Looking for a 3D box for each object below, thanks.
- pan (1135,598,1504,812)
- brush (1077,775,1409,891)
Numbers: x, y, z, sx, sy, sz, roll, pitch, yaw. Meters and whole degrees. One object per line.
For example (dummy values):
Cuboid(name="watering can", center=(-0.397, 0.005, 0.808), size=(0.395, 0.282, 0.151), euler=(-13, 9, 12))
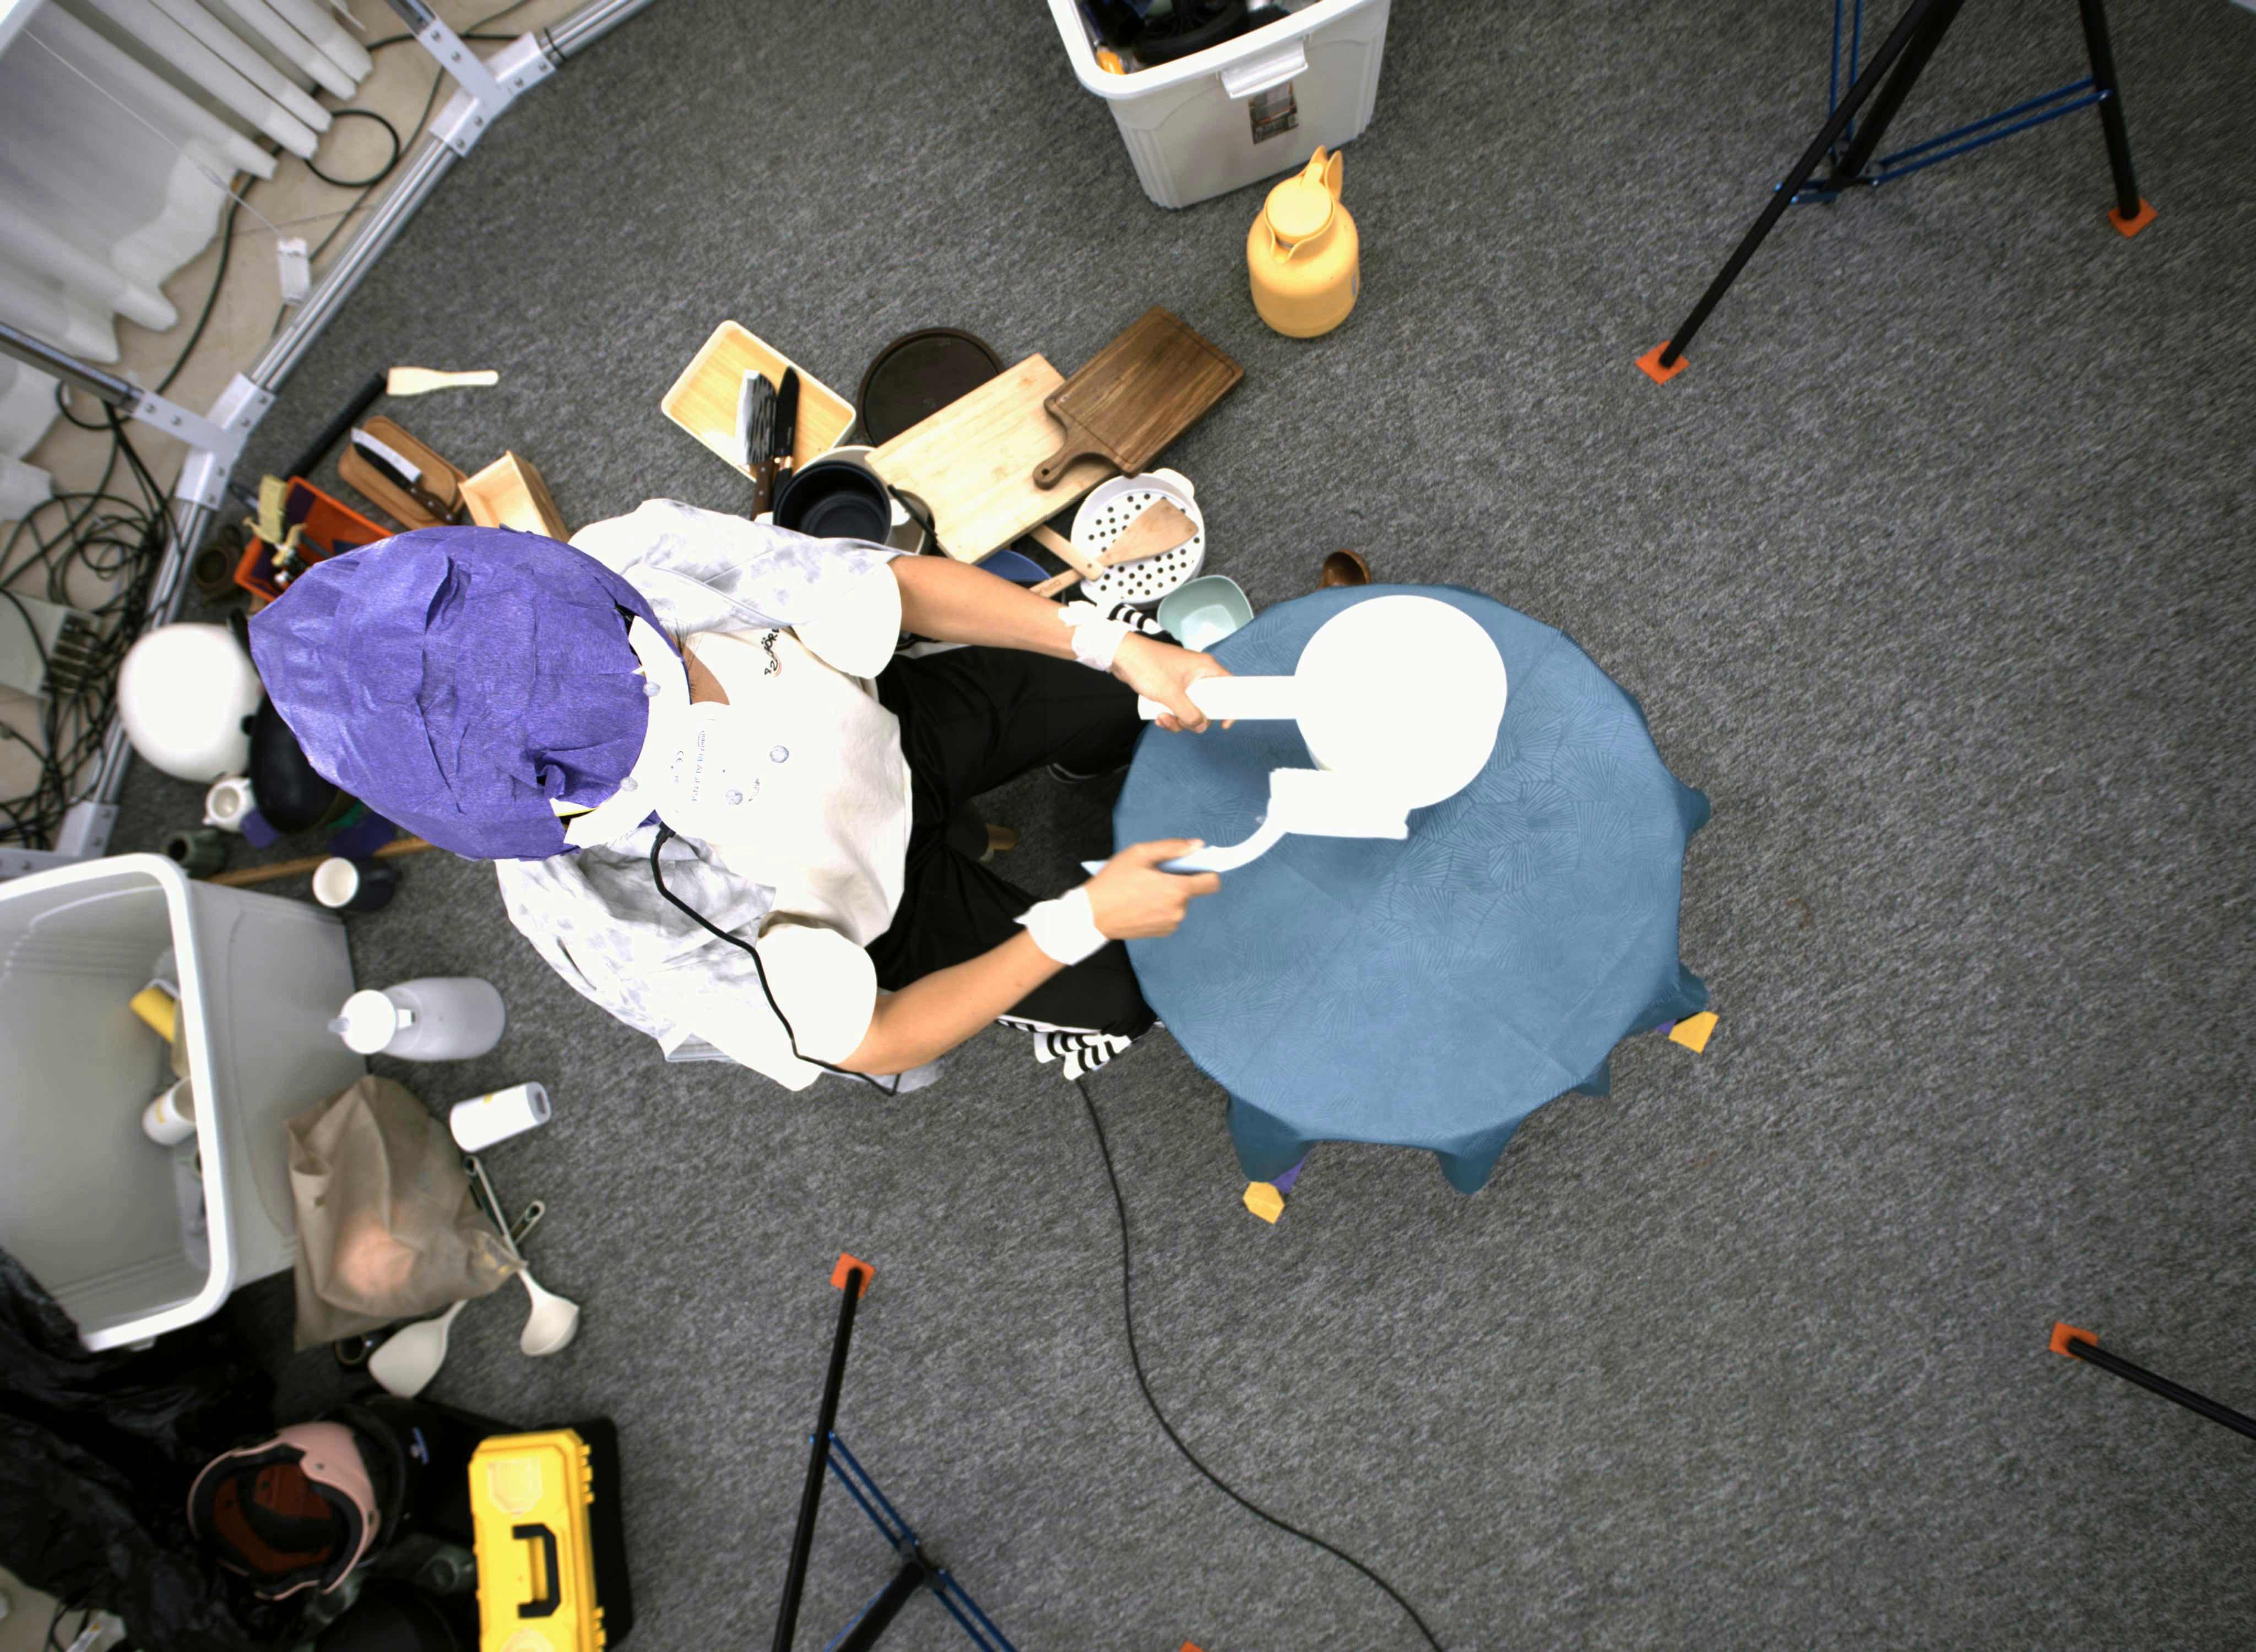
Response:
Cuboid(name="pan", center=(0.189, -0.115, 1.365), size=(0.356, 0.103, 0.198), euler=(0, 73, 14))
Cuboid(name="brush", center=(0.105, -0.005, 1.330), size=(0.327, 0.082, 0.084), euler=(-7, 120, 15))
